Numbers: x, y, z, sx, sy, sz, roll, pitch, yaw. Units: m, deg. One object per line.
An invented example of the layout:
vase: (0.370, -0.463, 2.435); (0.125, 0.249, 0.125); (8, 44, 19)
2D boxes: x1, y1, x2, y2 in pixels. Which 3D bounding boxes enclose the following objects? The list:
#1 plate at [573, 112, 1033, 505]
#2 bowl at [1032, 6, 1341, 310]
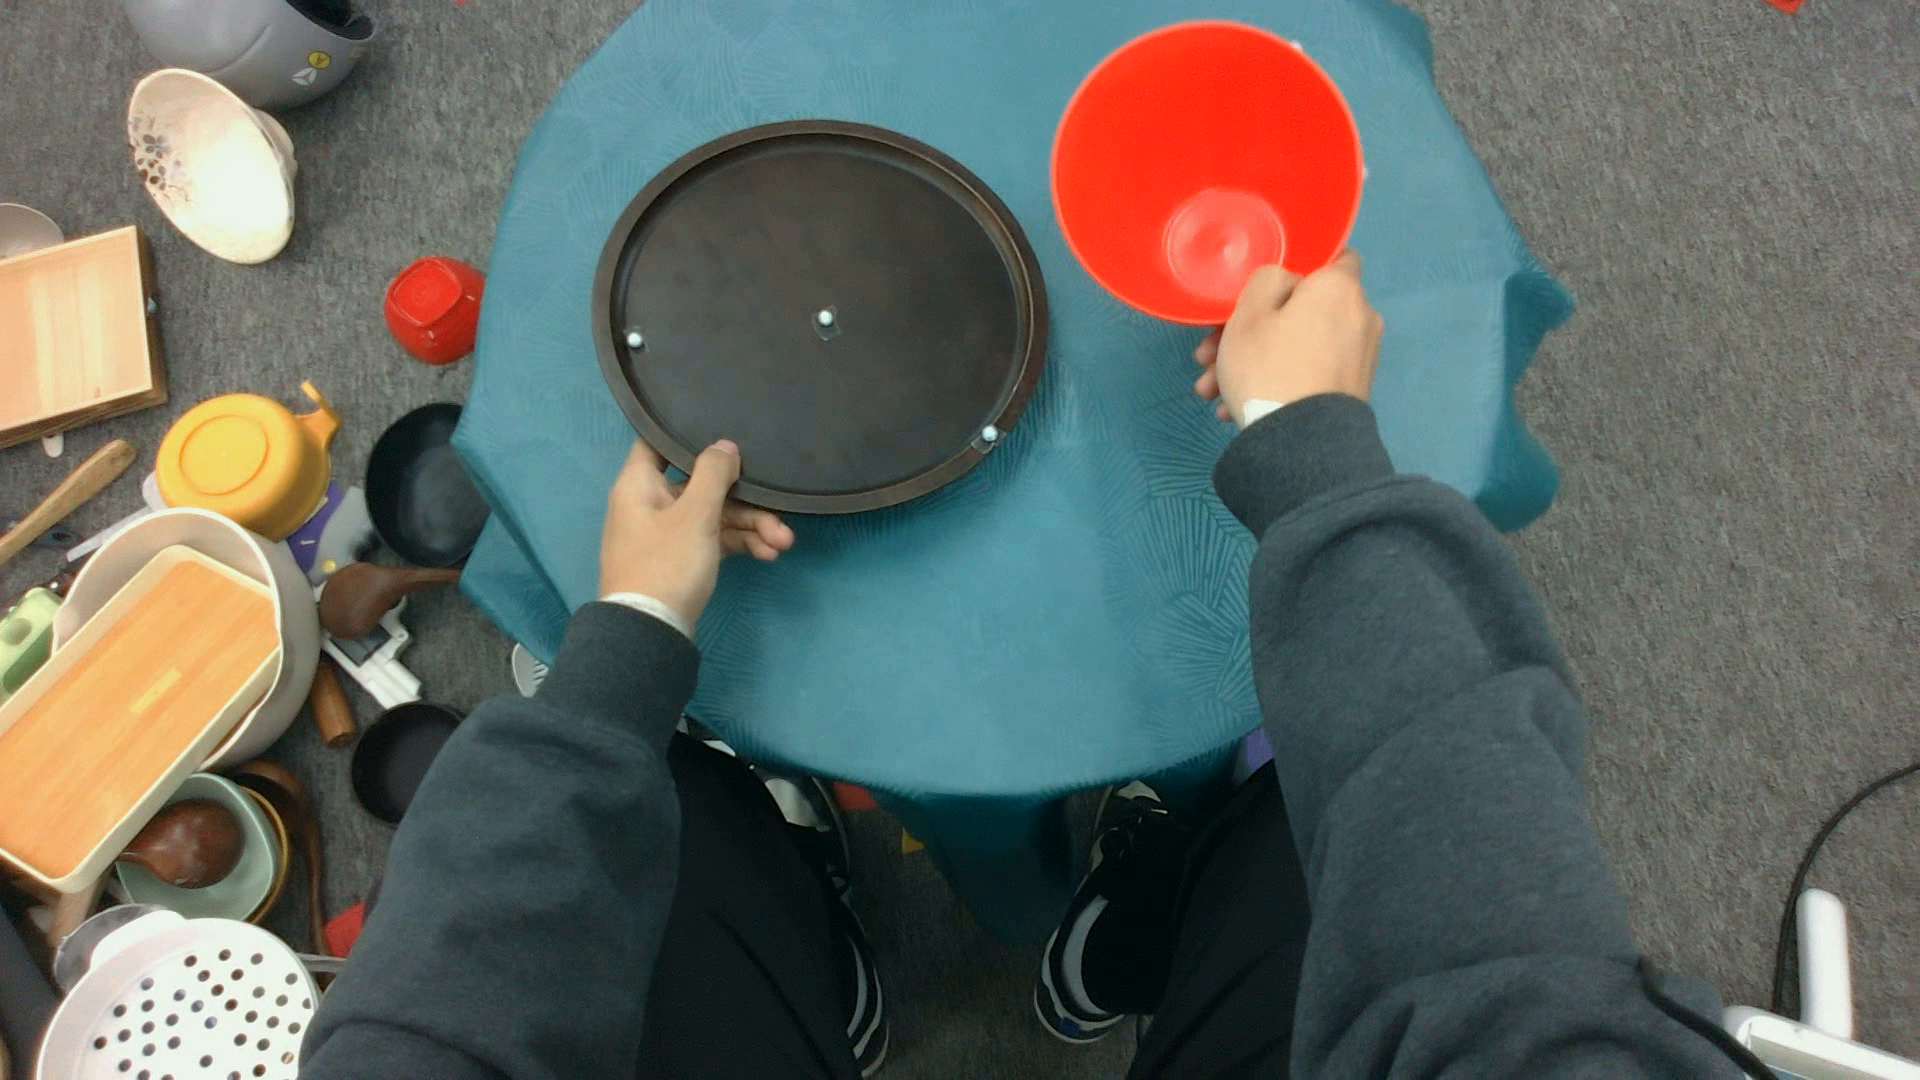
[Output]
plate: (-0.086, -0.134, 0.770); (0.255, 0.029, 0.255); (3, 67, -7)
bowl: (0.117, -0.181, 0.705); (0.148, 0.104, 0.148); (-2, 80, 9)
